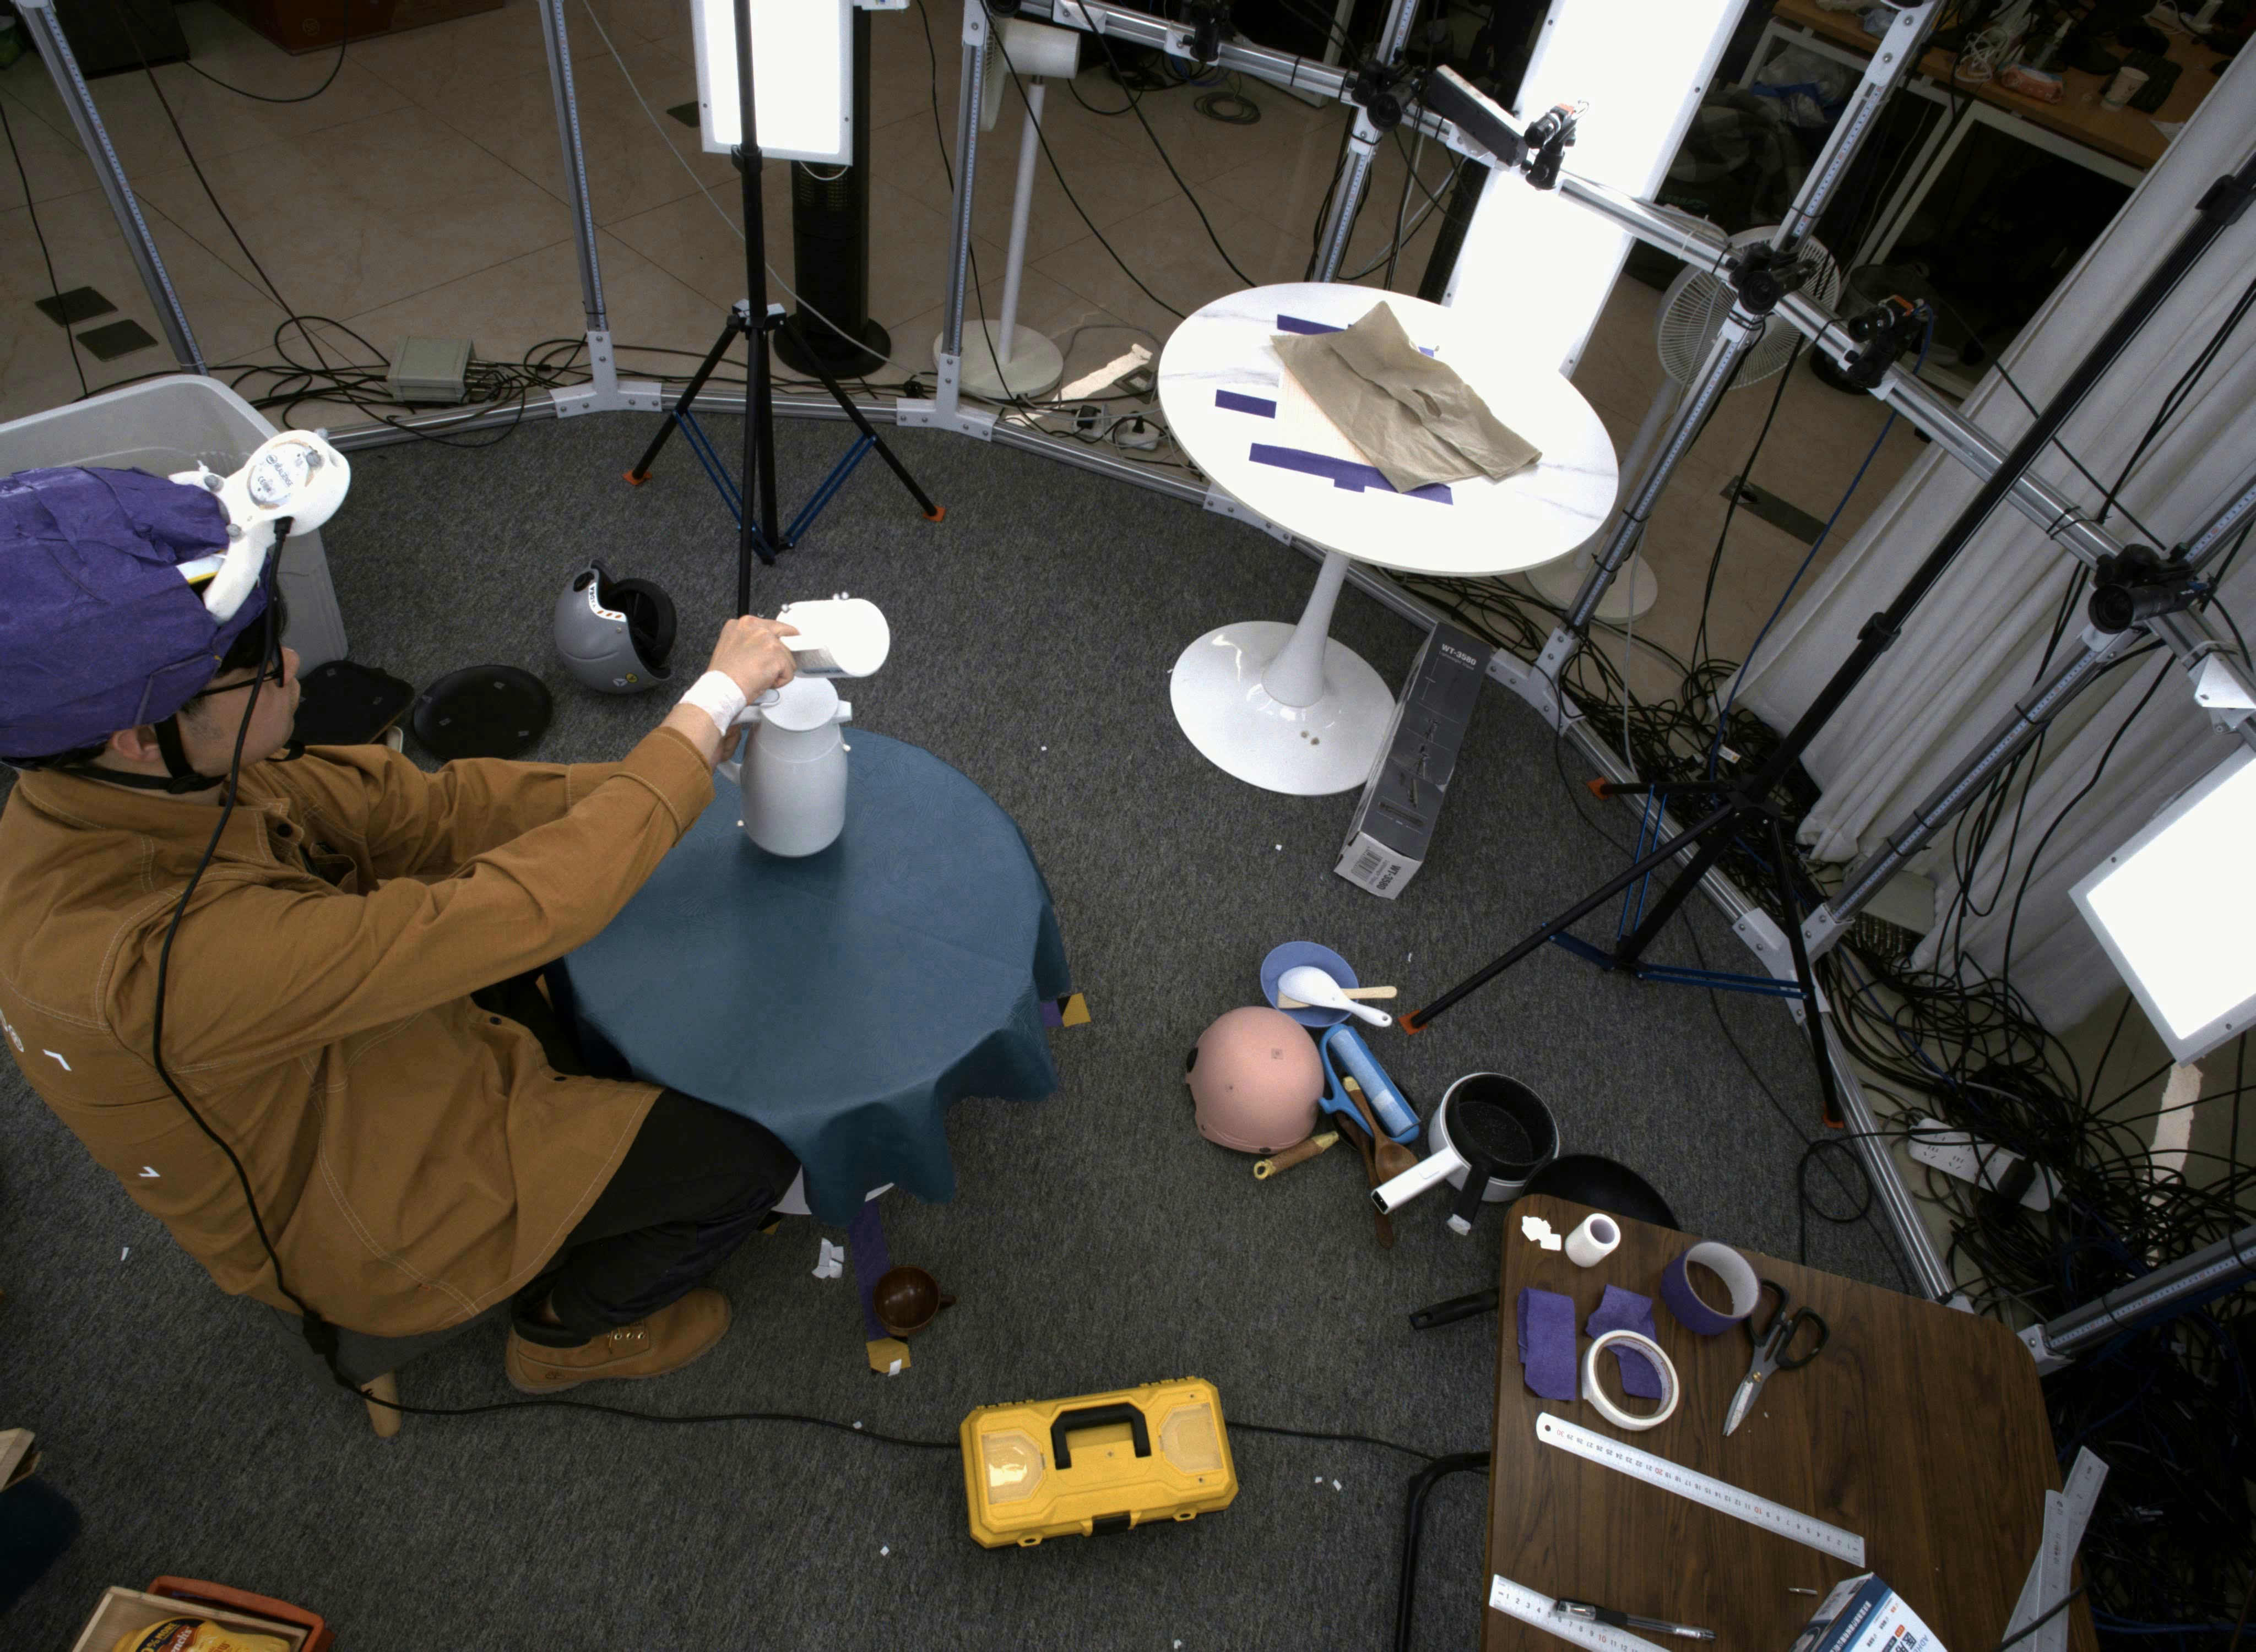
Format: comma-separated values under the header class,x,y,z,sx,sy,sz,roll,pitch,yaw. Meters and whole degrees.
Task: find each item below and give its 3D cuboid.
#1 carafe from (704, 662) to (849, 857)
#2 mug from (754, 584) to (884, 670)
class,x,y,z,sx,sy,sz,roll,pitch,yaw
carafe,-0.425,-0.085,1.567,0.168,0.252,0.130,-1,57,-16
mug,-0.334,-0.209,1.374,0.098,0.087,0.120,4,12,38
